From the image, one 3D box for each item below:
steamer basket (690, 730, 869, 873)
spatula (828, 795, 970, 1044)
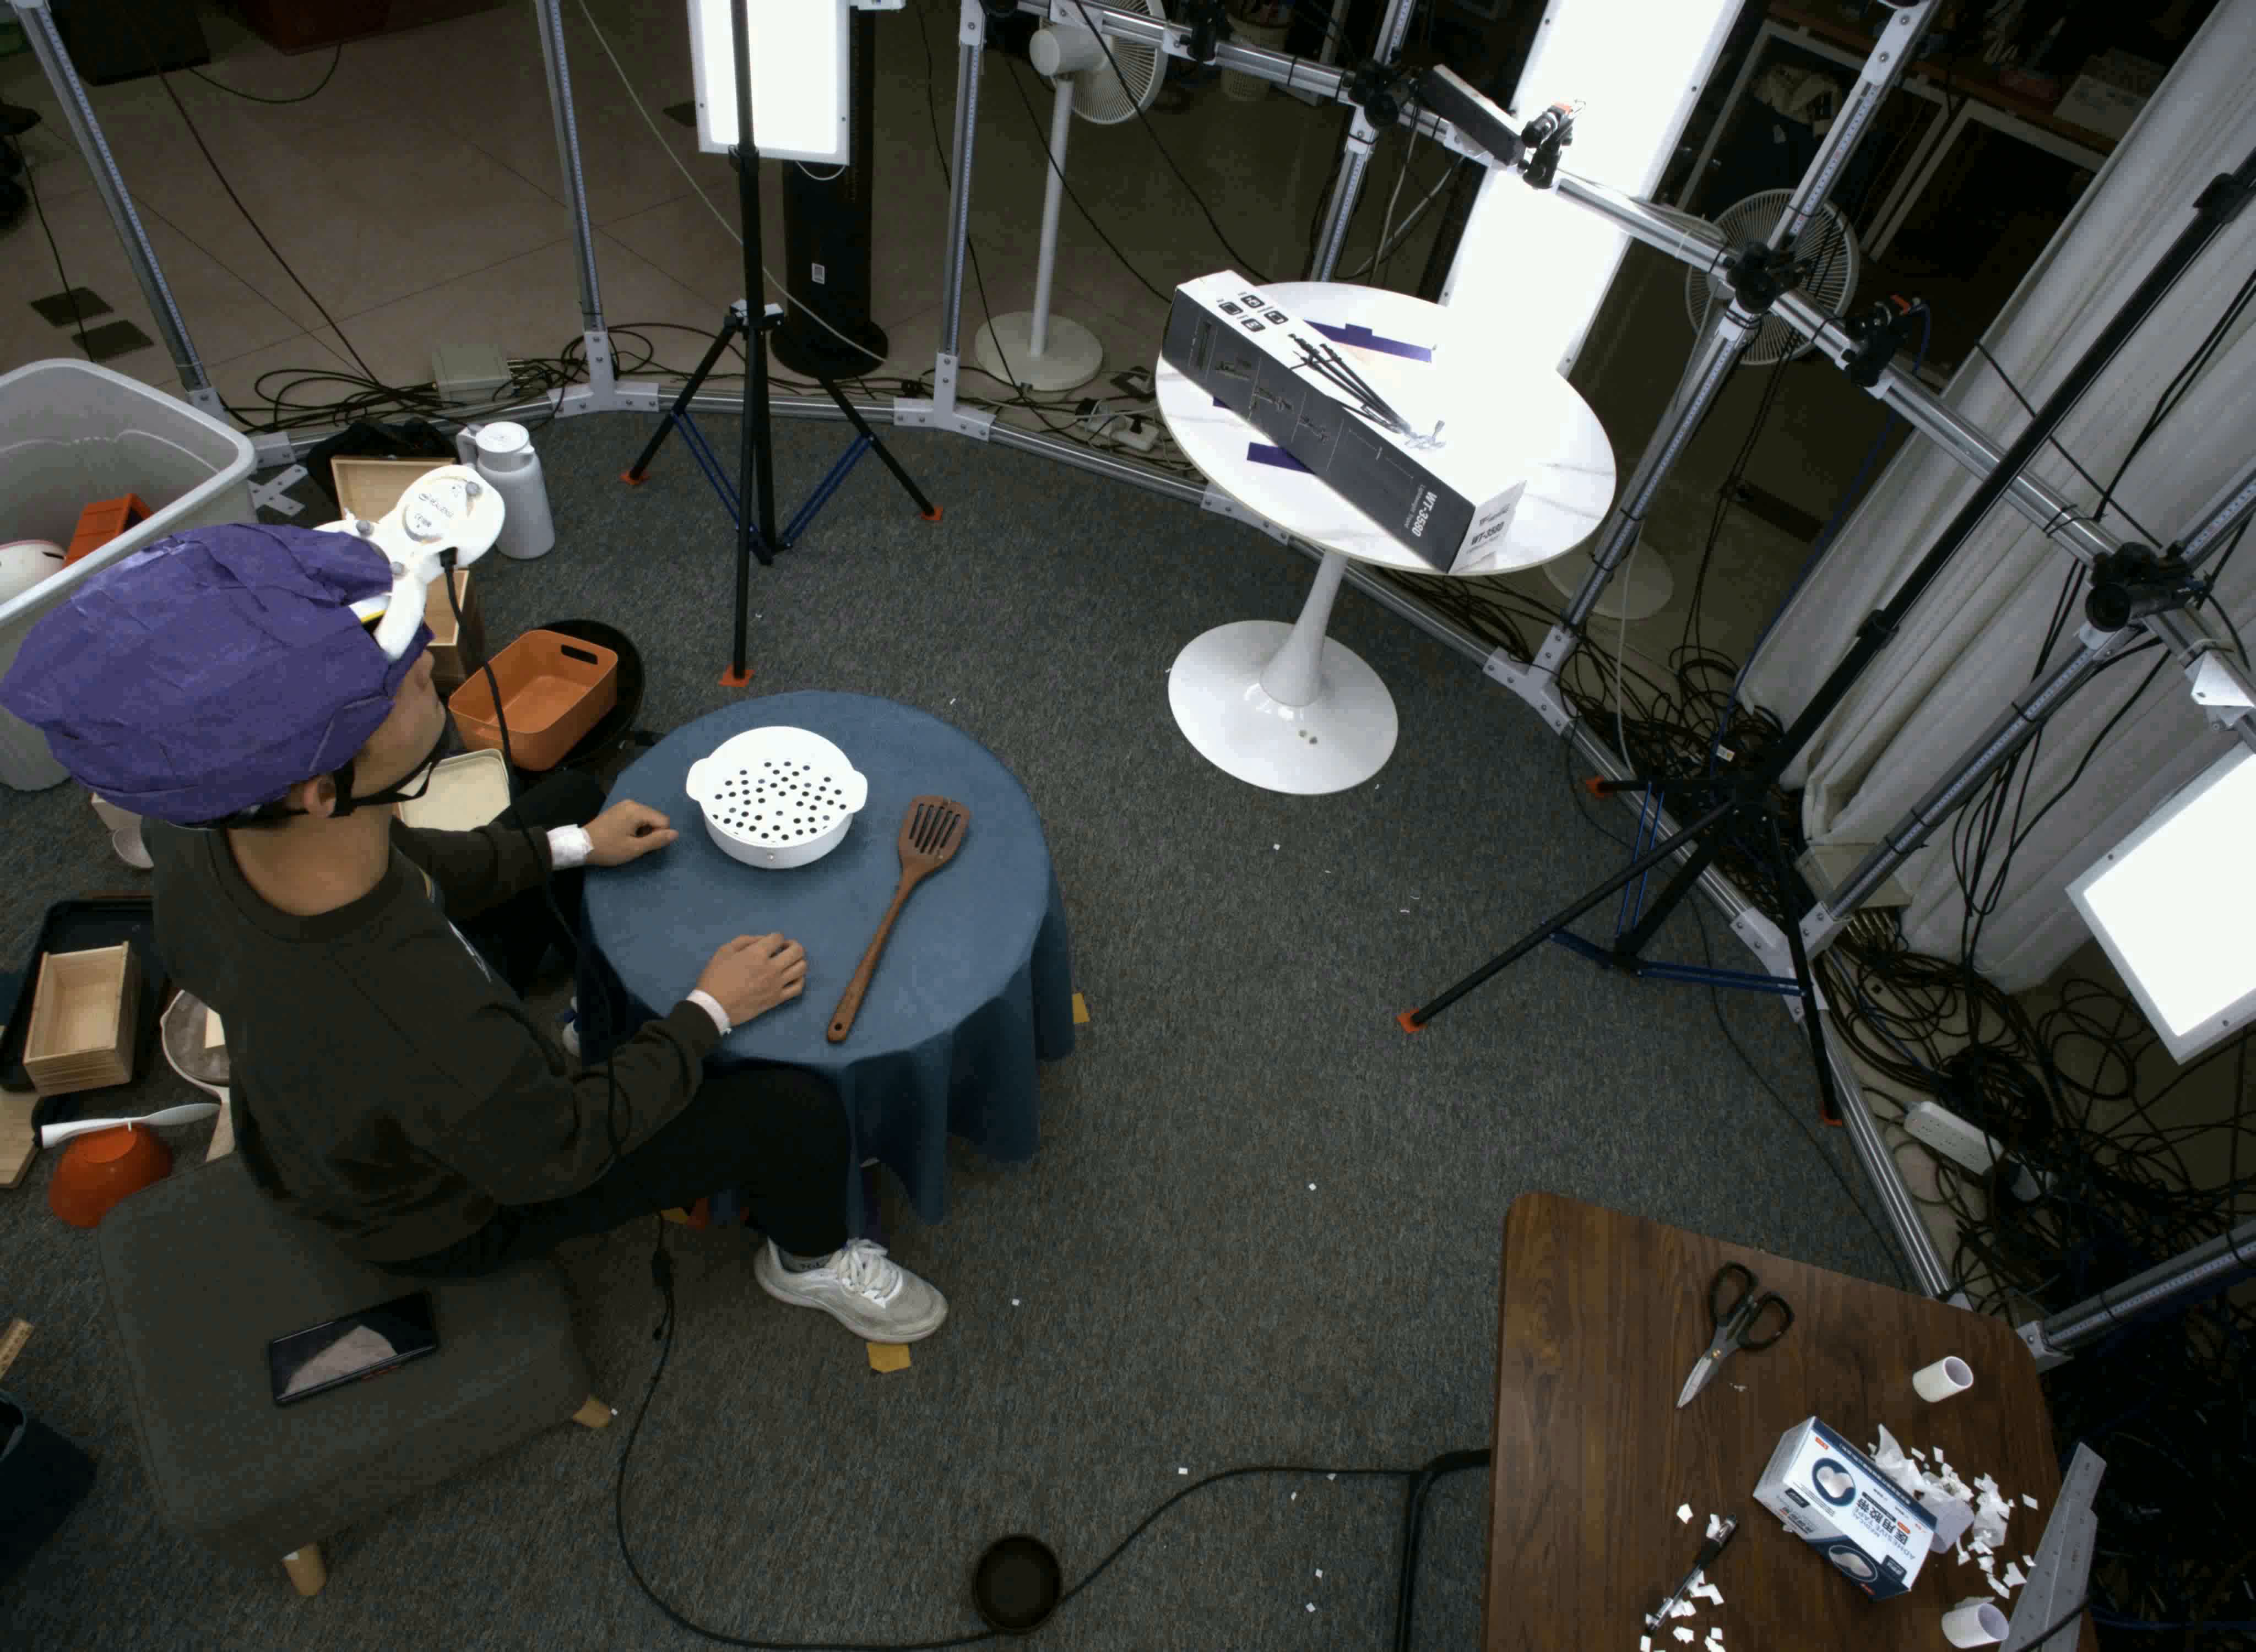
[{"bbox_3d":[-0.457,-0.034,1.713,0.229,0.071,0.198,3,51,-8],"label":"steamer basket"},{"bbox_3d":[-0.301,0.113,1.670,0.085,0.024,0.381,17,53,2],"label":"spatula"}]
